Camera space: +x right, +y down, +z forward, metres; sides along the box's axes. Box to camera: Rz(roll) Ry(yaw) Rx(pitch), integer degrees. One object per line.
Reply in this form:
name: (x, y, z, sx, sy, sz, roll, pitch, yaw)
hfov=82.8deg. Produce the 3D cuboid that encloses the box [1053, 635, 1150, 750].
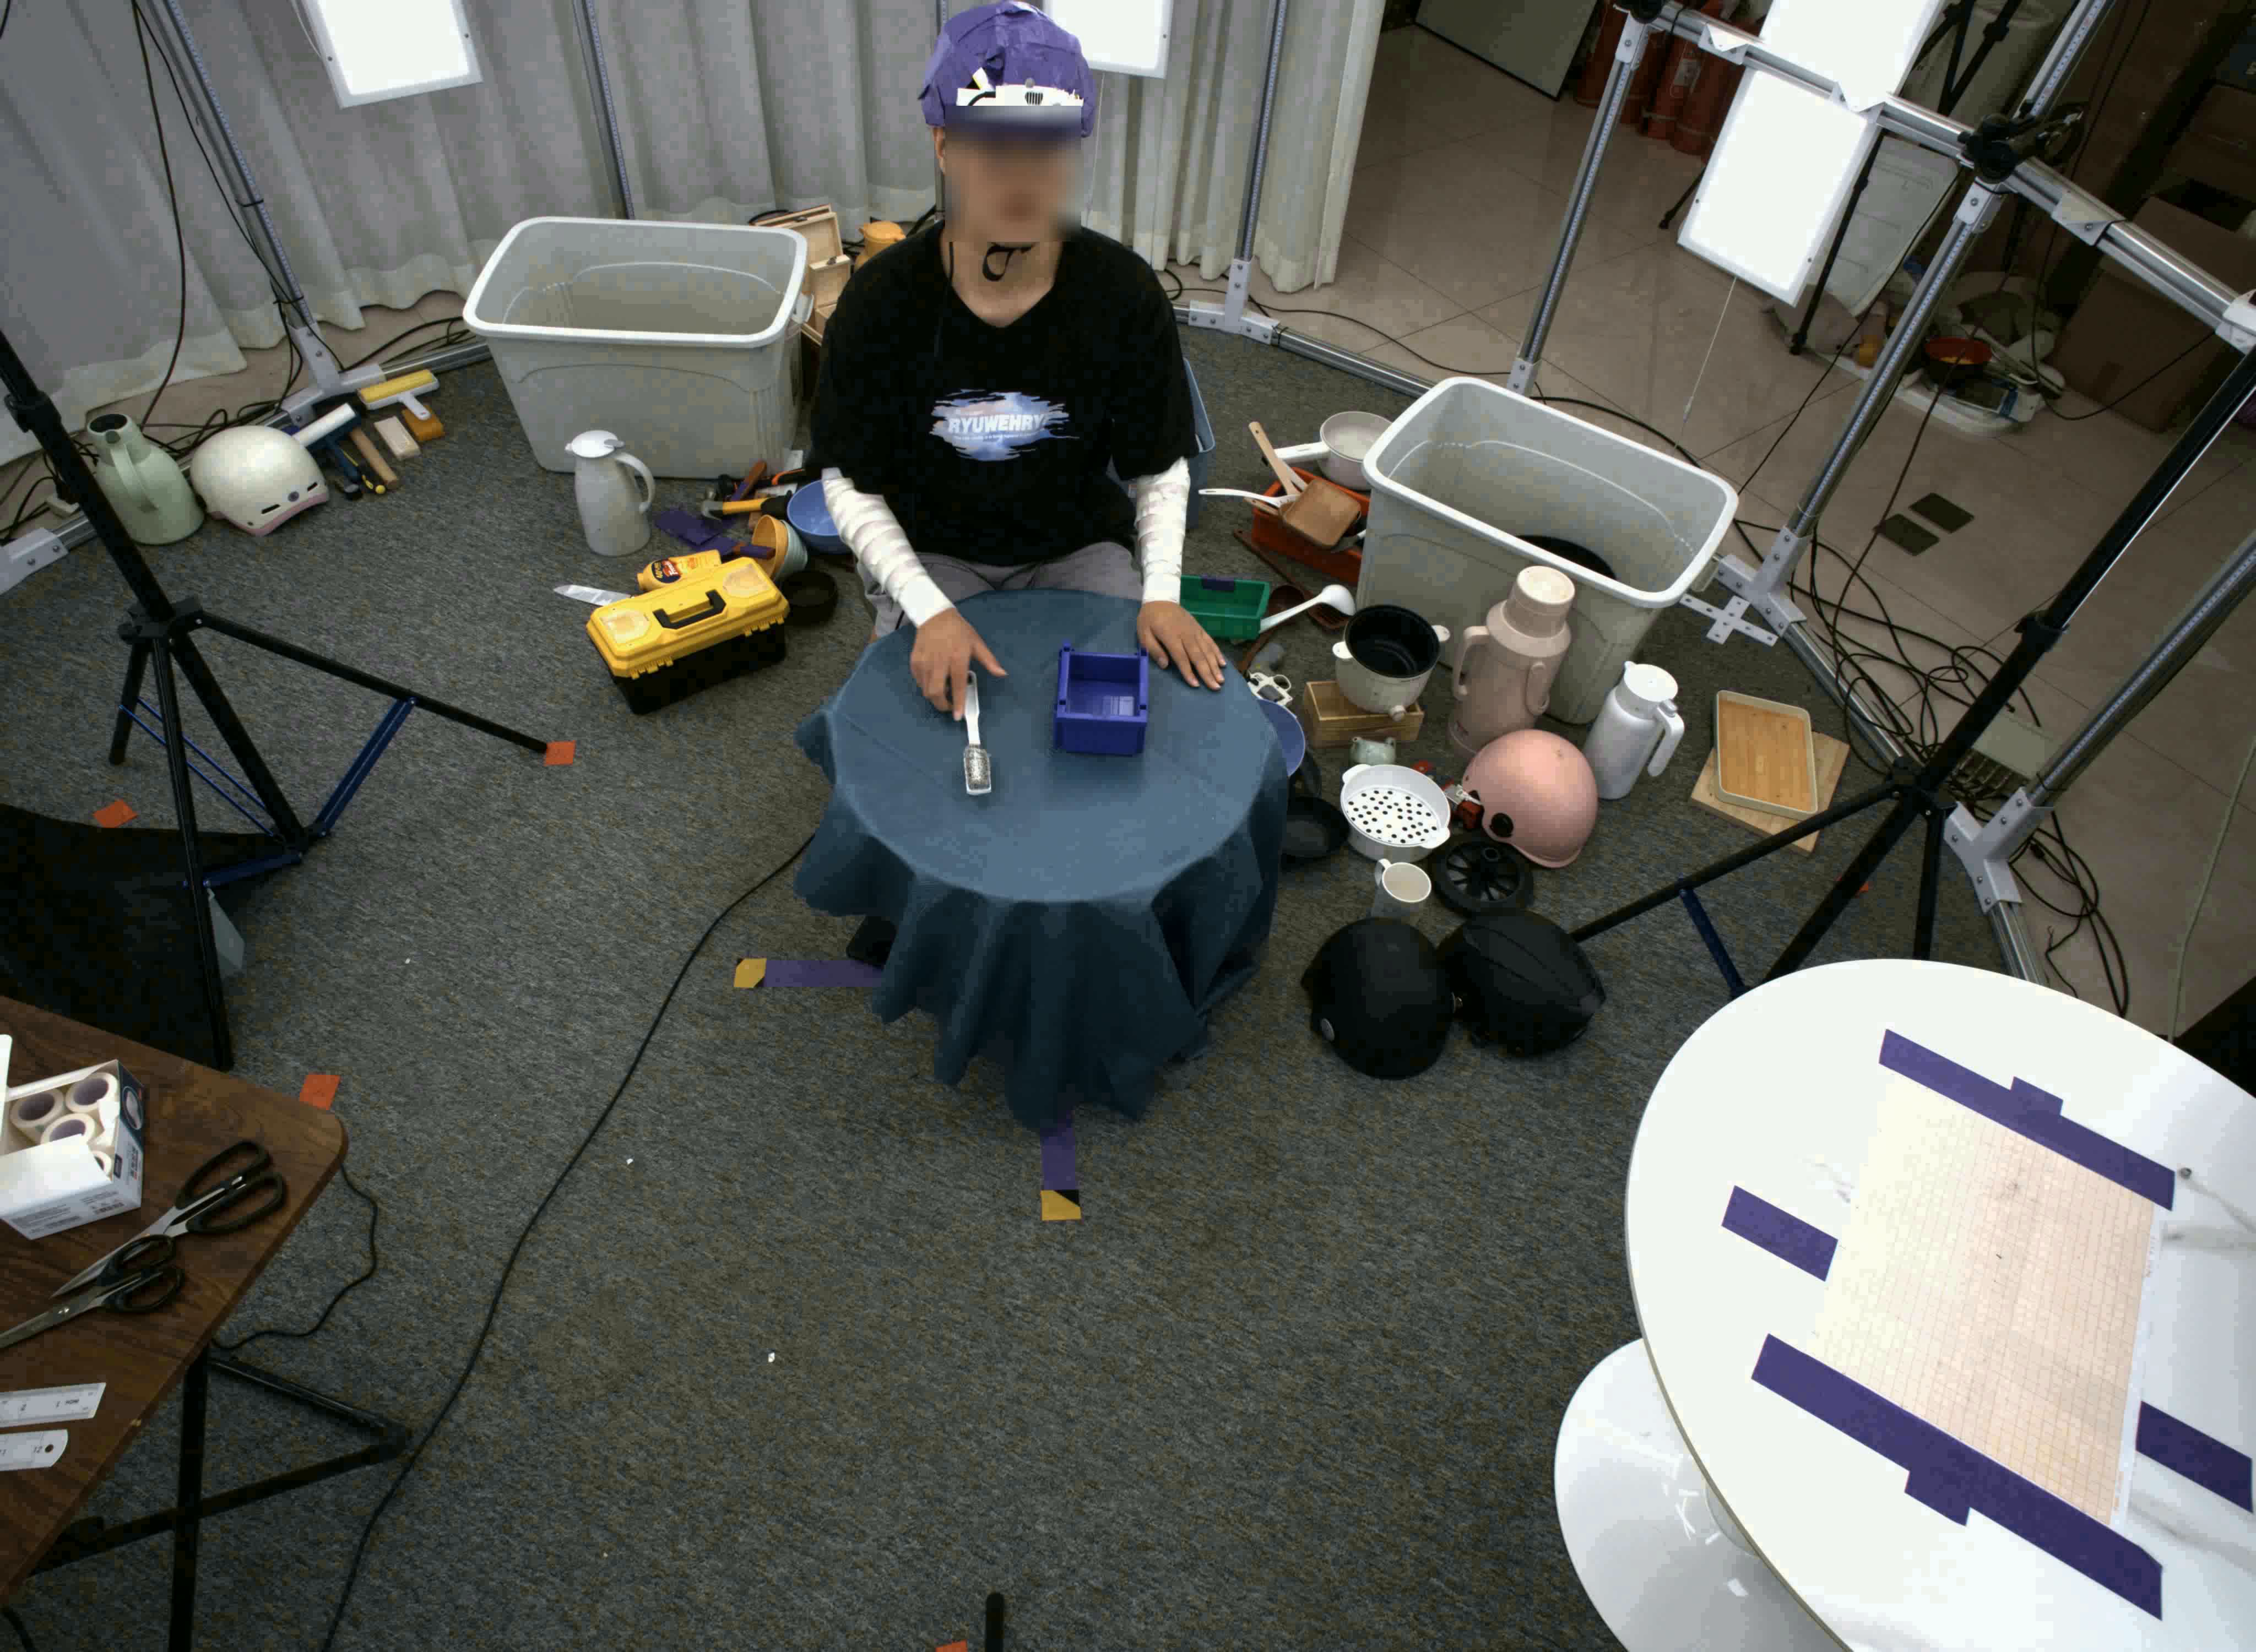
box: (-0.036, -0.193, 1.785, 0.124, 0.080, 0.184, 4, 51, 0)

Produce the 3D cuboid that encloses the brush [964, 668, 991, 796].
brush: (-0.208, -0.142, 1.751, 0.034, 0.049, 0.250, -3, 51, -6)
